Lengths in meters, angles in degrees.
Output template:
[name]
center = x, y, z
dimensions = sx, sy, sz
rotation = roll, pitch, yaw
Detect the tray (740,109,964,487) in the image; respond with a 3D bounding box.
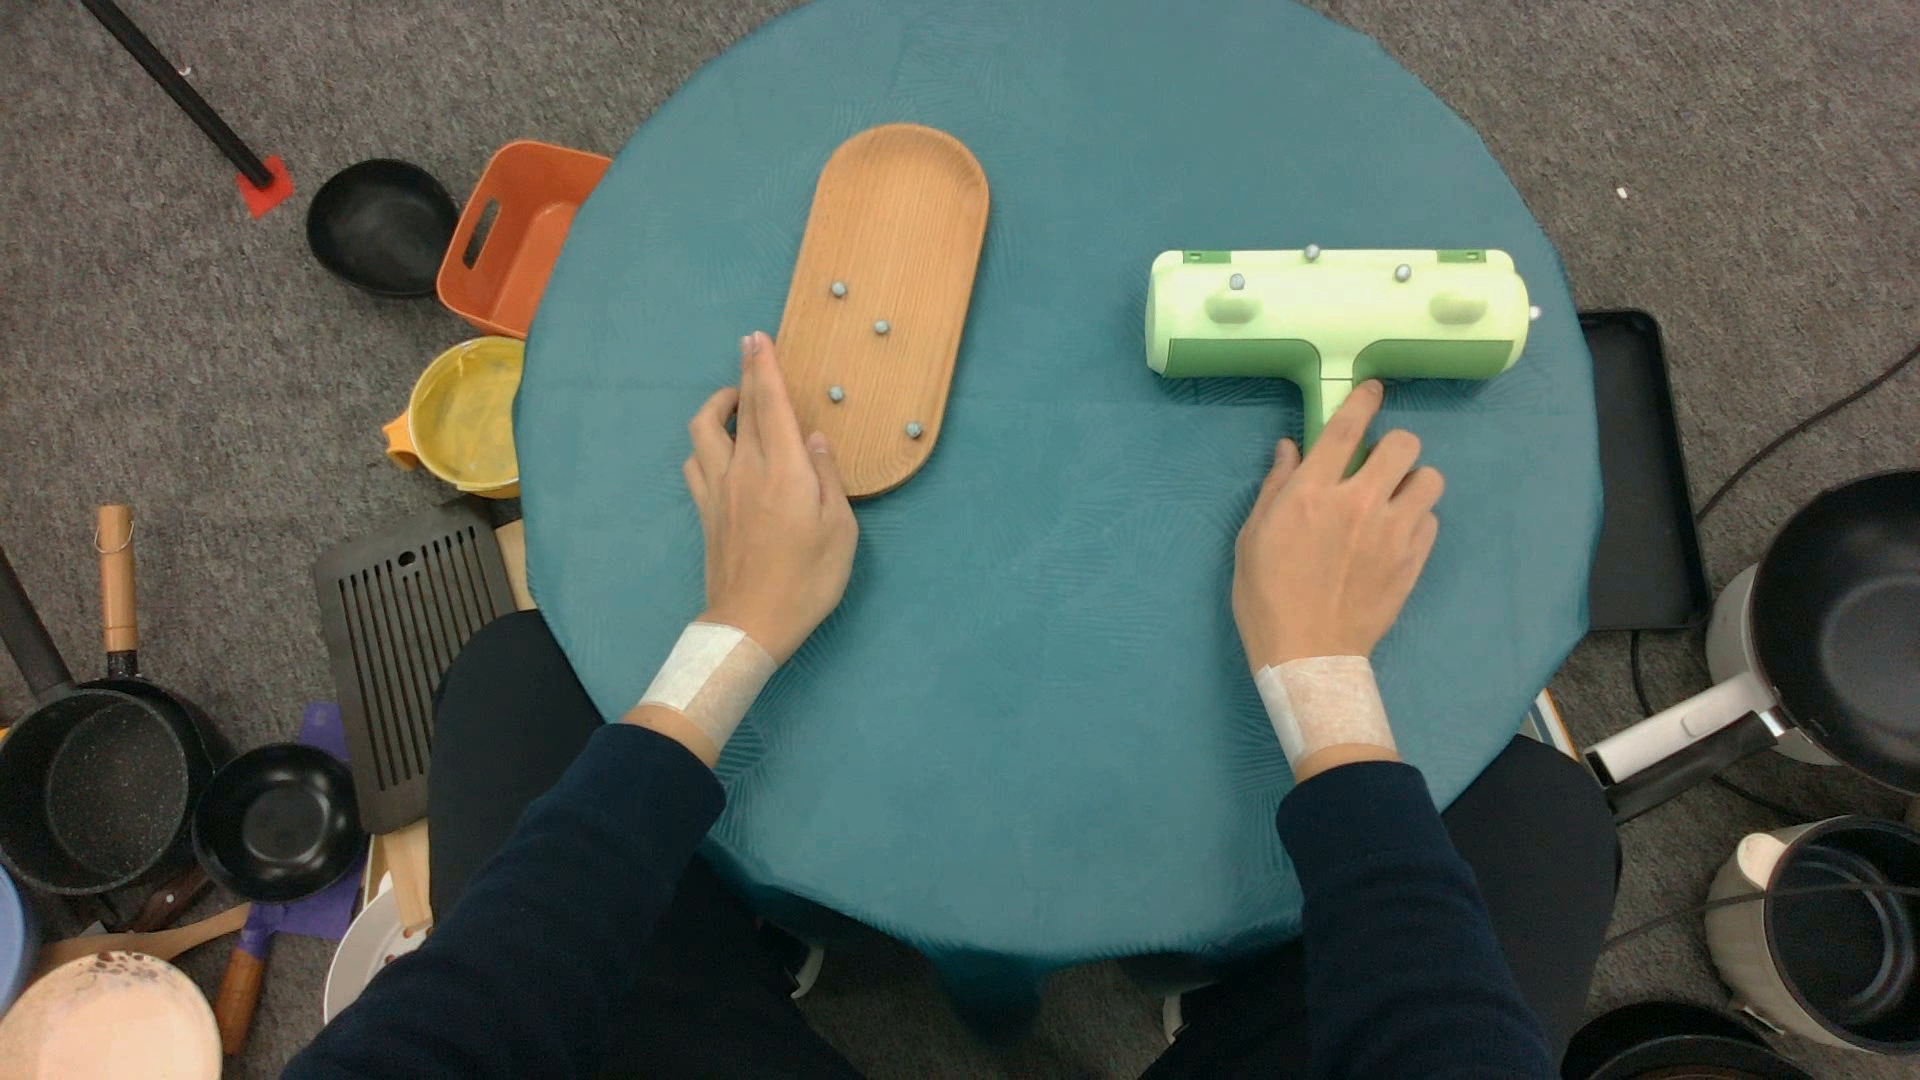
[tray]
center = -0.059, -0.139, 0.774
dimensions = 0.101, 0.020, 0.232
rotation = 9, 73, 2

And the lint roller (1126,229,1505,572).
[lint roller]
center = 0.191, -0.080, 0.718
dimensions = 0.198, 0.082, 0.184
rotation = -2, 68, 1
